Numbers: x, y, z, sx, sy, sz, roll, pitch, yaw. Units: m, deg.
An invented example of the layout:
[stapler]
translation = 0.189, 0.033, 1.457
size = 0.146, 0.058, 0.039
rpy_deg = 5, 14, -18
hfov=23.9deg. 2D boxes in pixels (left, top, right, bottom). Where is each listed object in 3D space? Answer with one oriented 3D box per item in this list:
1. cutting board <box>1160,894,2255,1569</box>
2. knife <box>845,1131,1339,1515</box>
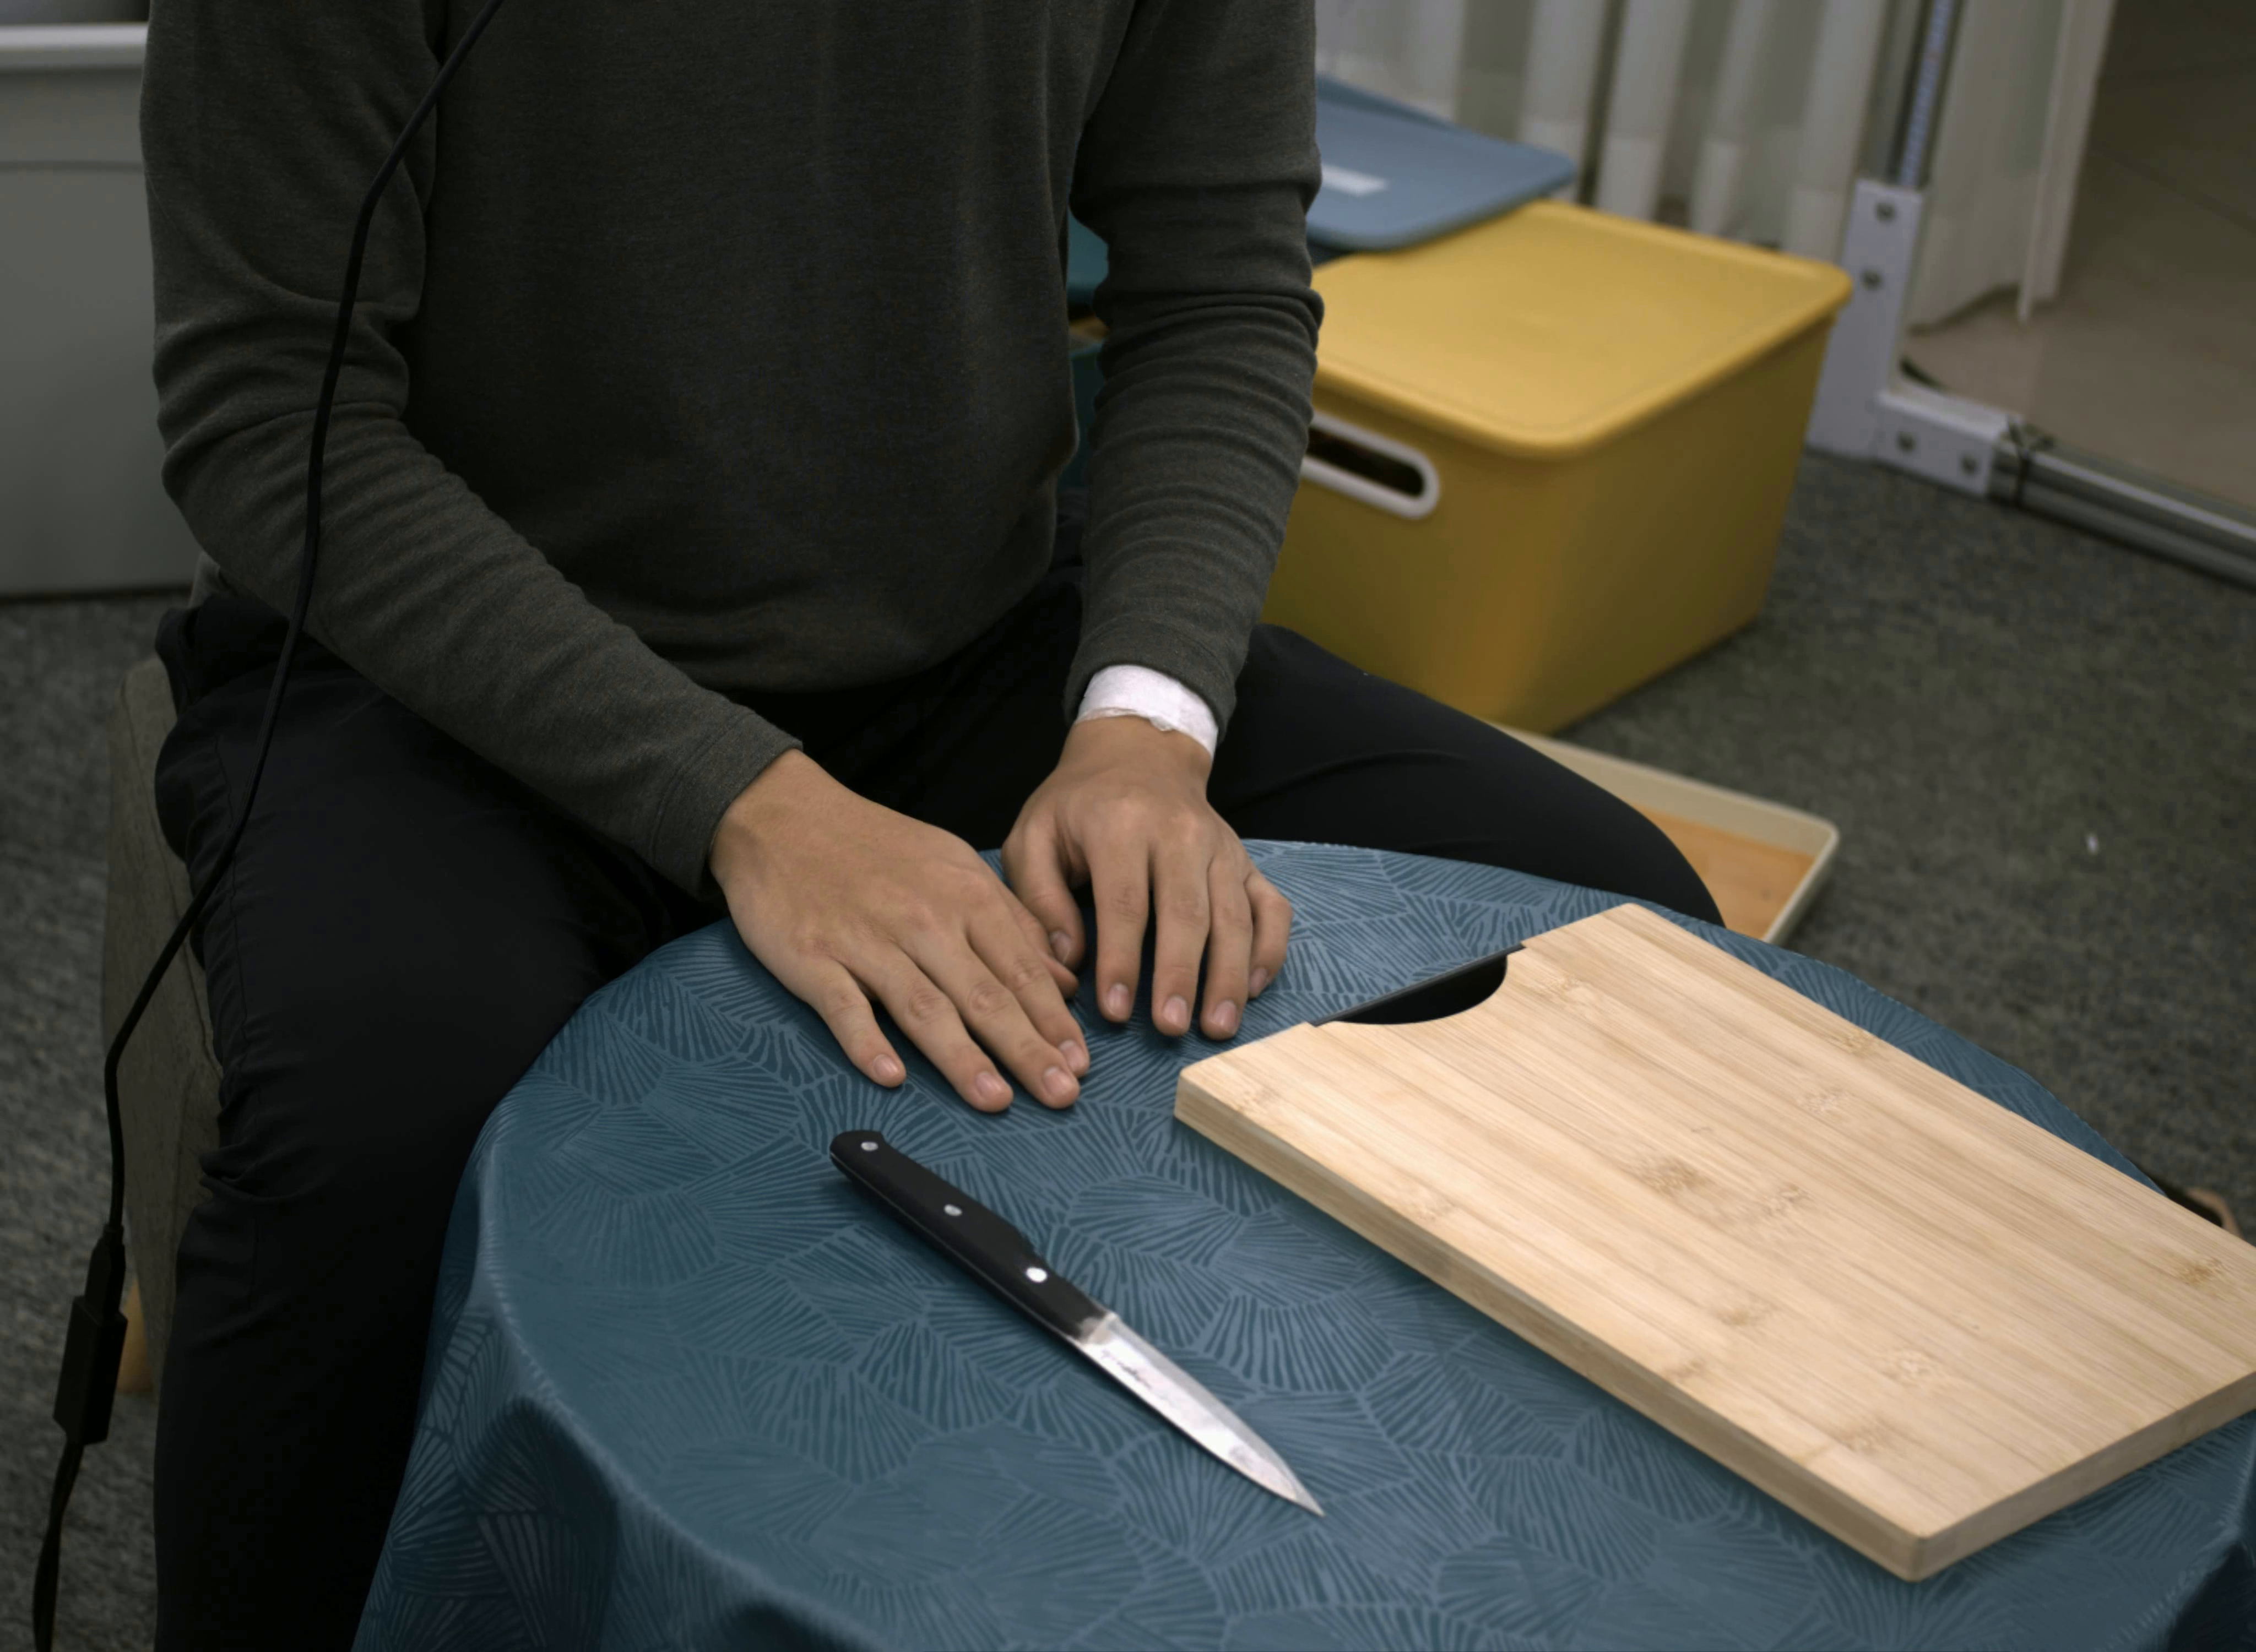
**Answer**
[cutting board]
translation = 0.213, 0.130, 1.824
size = 0.249, 0.023, 0.351
rpy_deg = -18, 36, -40
[knife]
translation = -0.016, 0.161, 1.716
size = 0.024, 0.016, 0.240
rpy_deg = -22, 40, -36
